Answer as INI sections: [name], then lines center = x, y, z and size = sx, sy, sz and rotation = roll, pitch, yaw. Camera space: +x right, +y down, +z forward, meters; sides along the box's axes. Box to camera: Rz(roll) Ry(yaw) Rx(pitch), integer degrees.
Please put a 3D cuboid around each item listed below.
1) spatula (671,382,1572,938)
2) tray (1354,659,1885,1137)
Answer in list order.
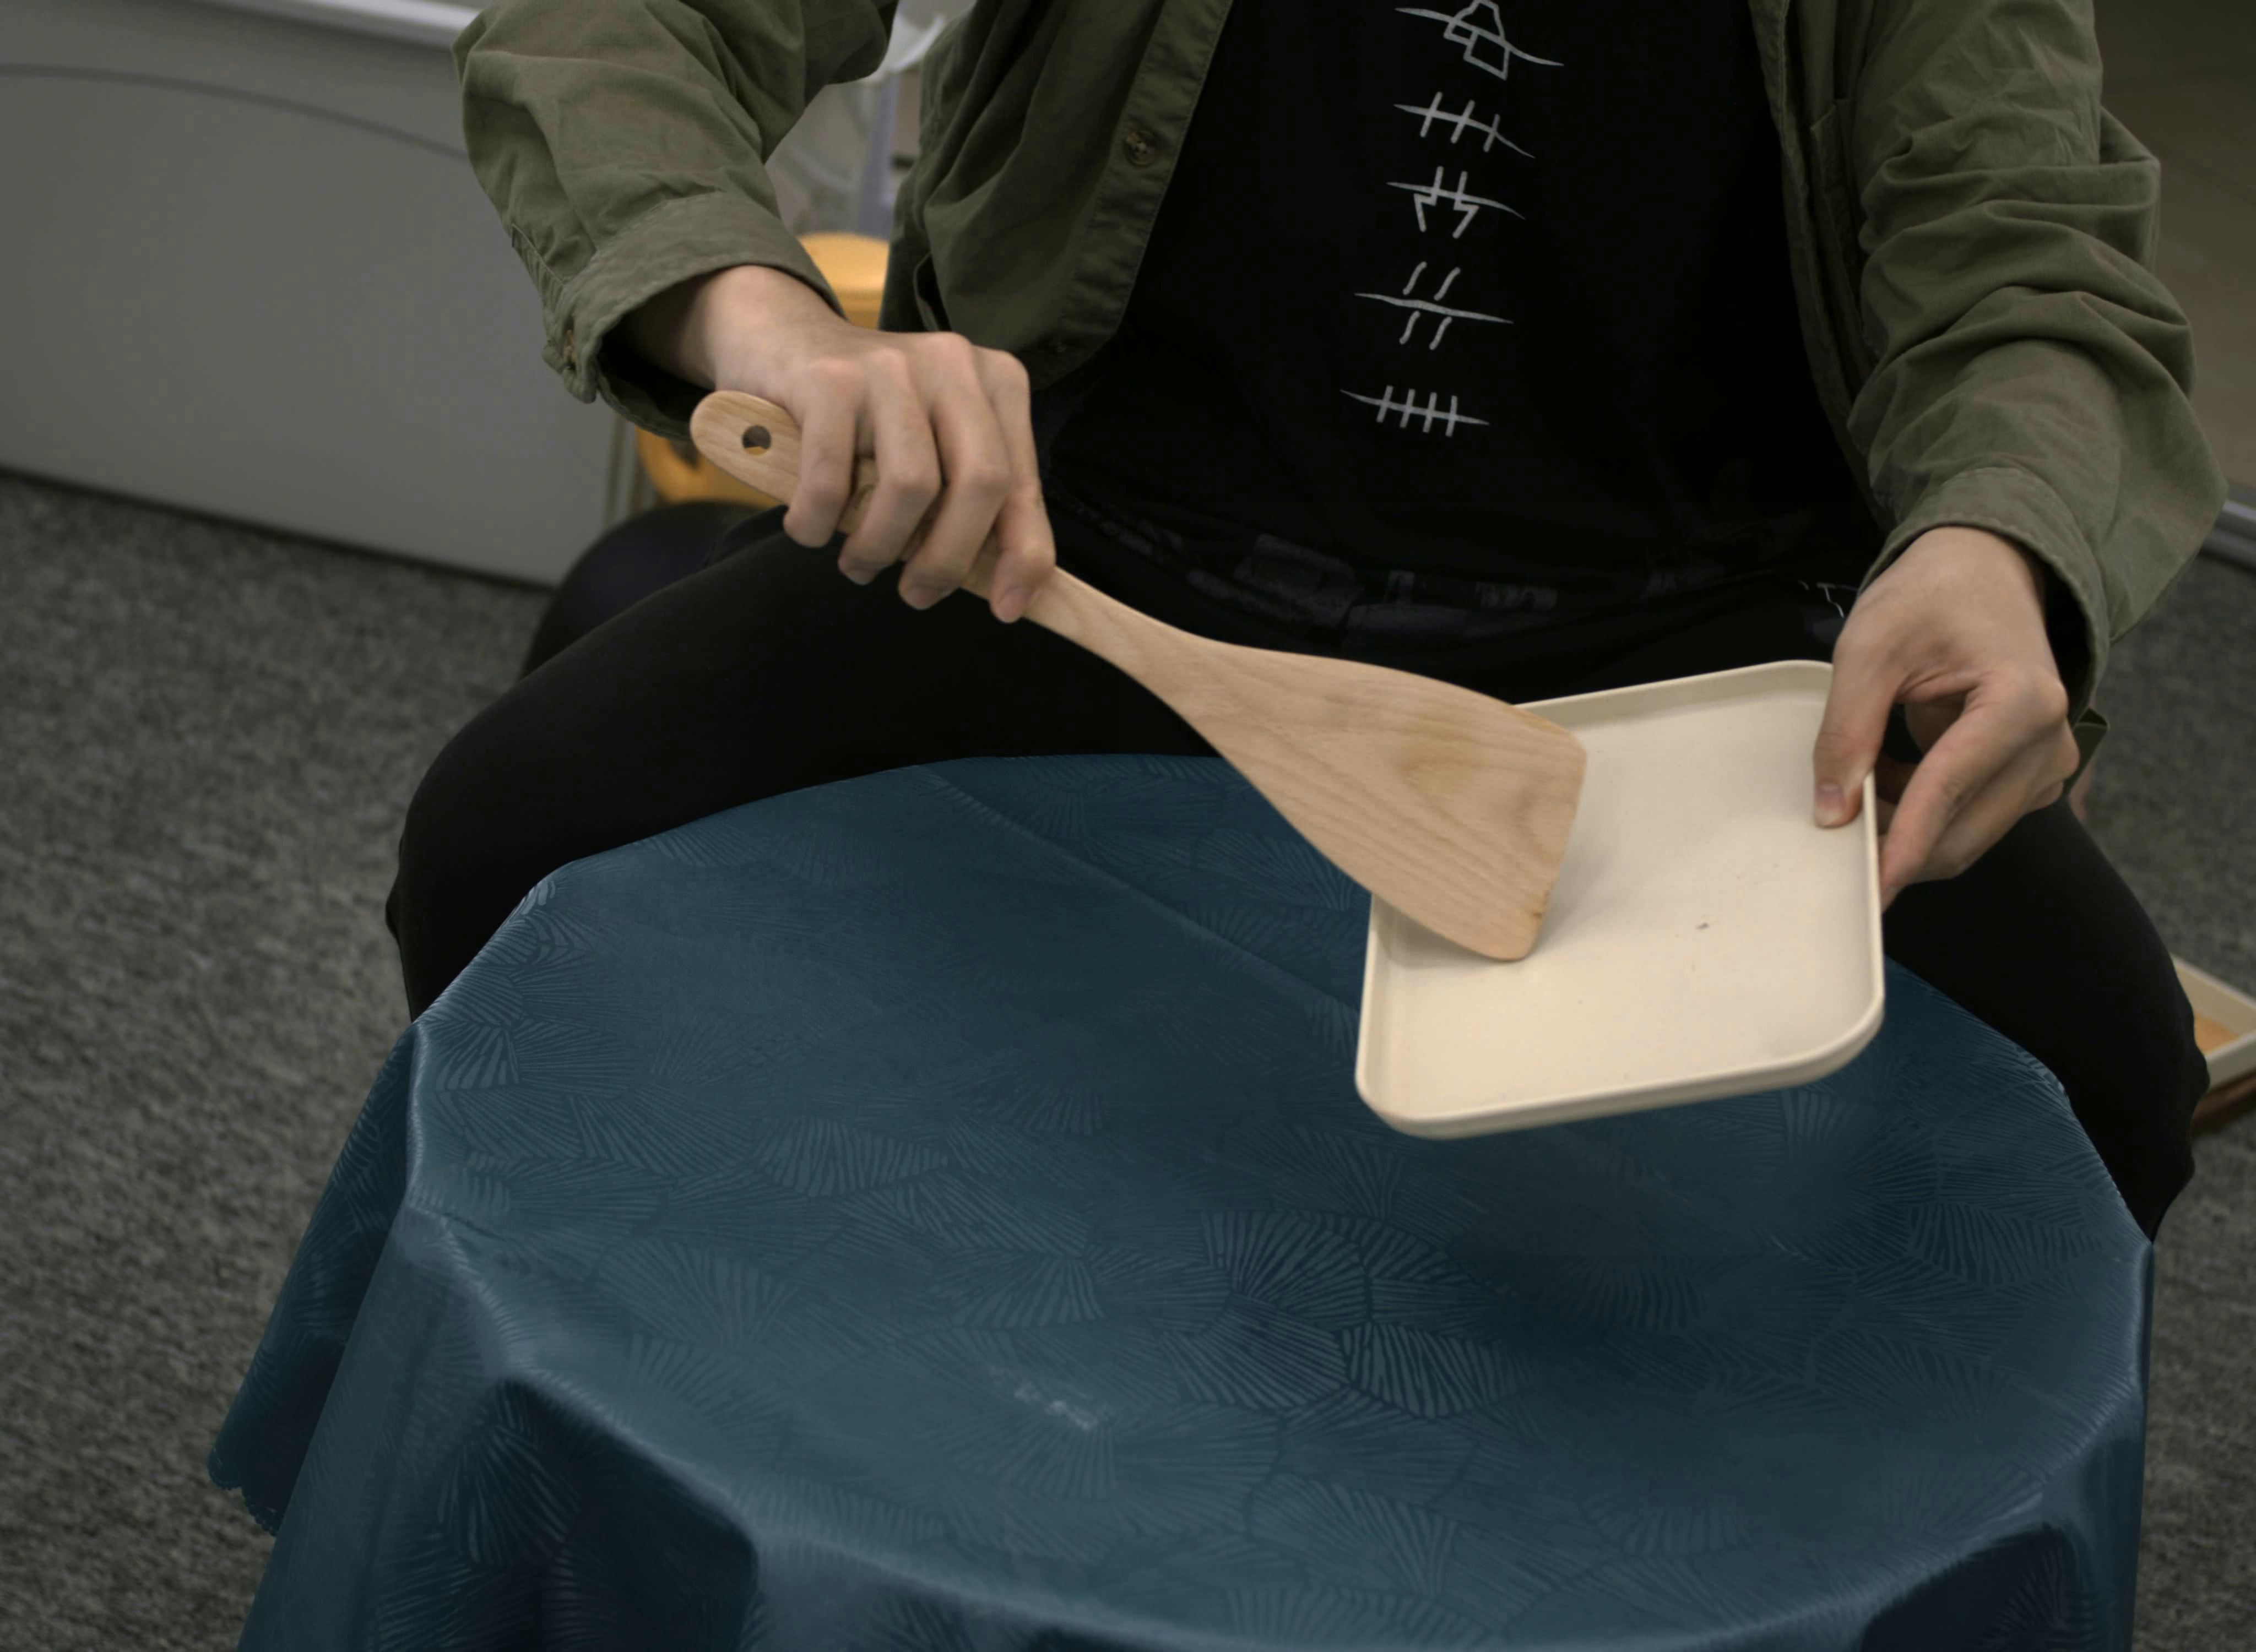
[spatula]
center = -0.004, -0.068, 1.756
size = 0.327, 0.080, 0.016
rotation = 27, 0, 2
[tray]
center = 0.162, 0.023, 1.746
size = 0.171, 0.017, 0.241
rotation = -10, 31, 12
